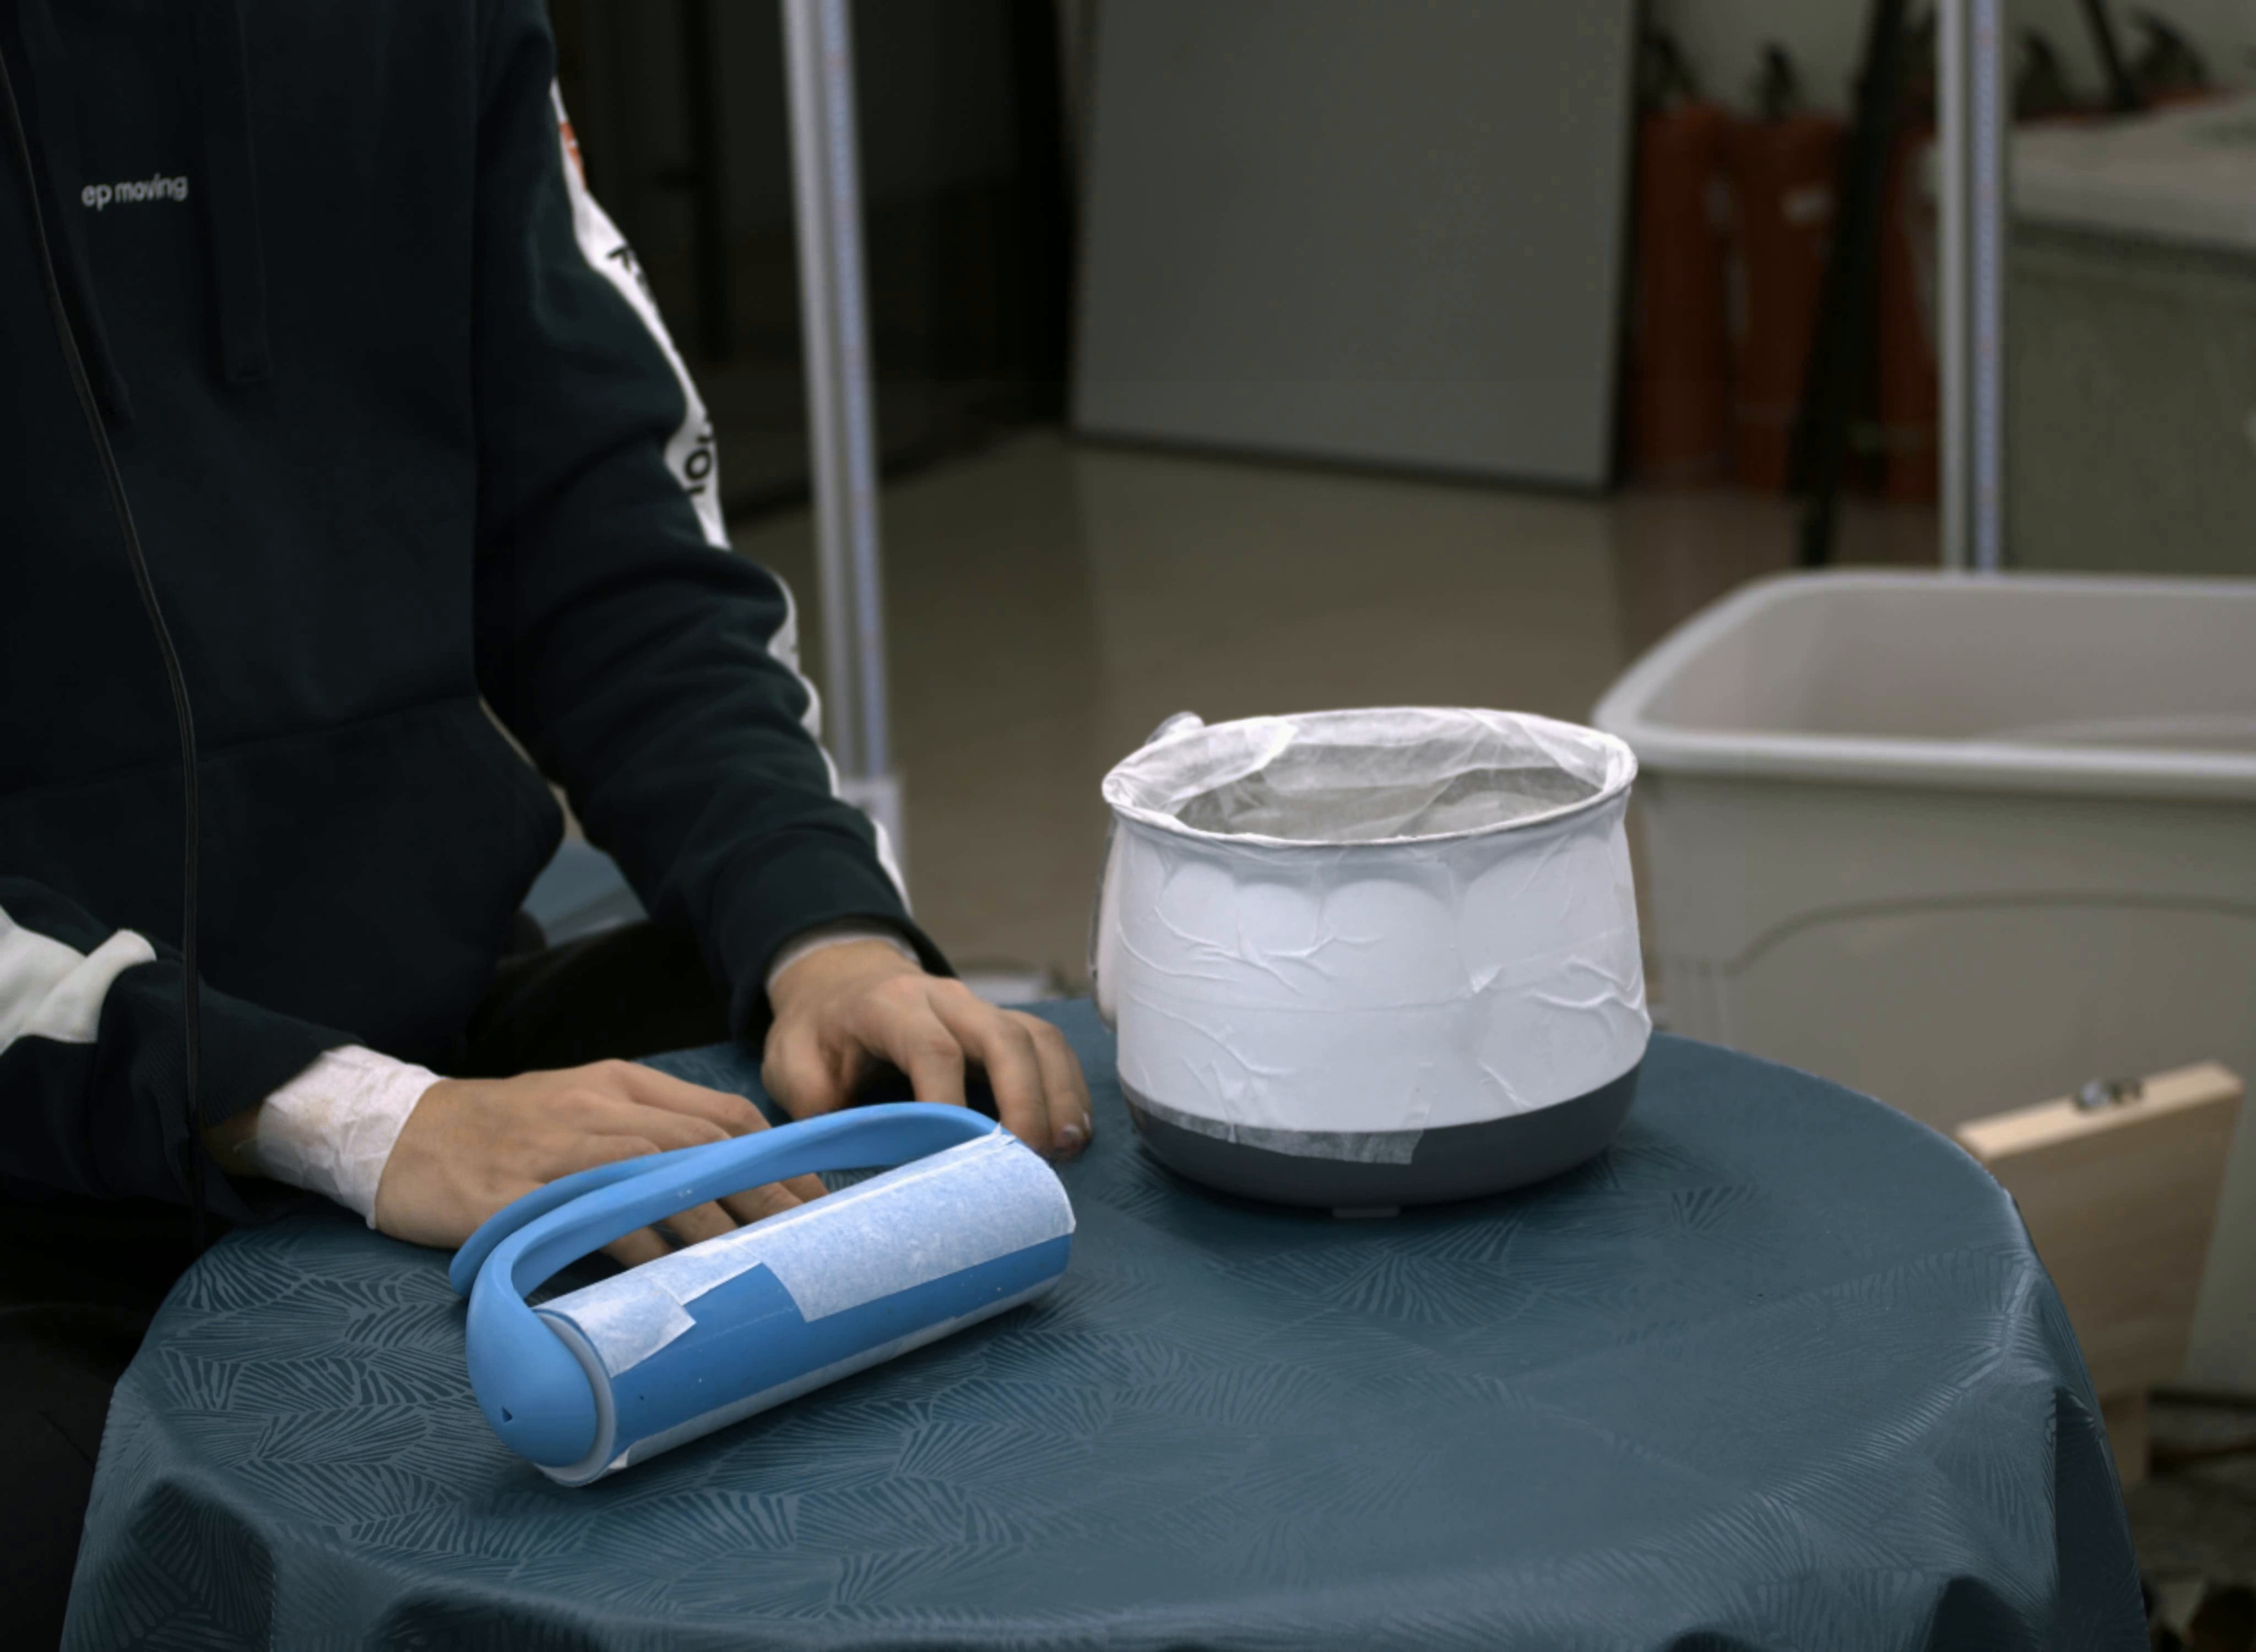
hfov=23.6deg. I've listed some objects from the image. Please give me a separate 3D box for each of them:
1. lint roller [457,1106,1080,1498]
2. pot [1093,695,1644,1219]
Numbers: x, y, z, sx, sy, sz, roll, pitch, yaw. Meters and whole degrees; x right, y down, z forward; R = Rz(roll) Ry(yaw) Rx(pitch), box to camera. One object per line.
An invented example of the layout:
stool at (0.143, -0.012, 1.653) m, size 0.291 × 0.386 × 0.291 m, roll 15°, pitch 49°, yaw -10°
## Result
lint roller at (-0.141, 0.135, 1.639) m, size 0.181 × 0.068 × 0.225 m, roll 8°, pitch 20°, yaw 39°
pot at (0.065, 0.037, 1.797) m, size 0.175 × 0.138 × 0.236 m, roll -13°, pitch 18°, yaw -35°
